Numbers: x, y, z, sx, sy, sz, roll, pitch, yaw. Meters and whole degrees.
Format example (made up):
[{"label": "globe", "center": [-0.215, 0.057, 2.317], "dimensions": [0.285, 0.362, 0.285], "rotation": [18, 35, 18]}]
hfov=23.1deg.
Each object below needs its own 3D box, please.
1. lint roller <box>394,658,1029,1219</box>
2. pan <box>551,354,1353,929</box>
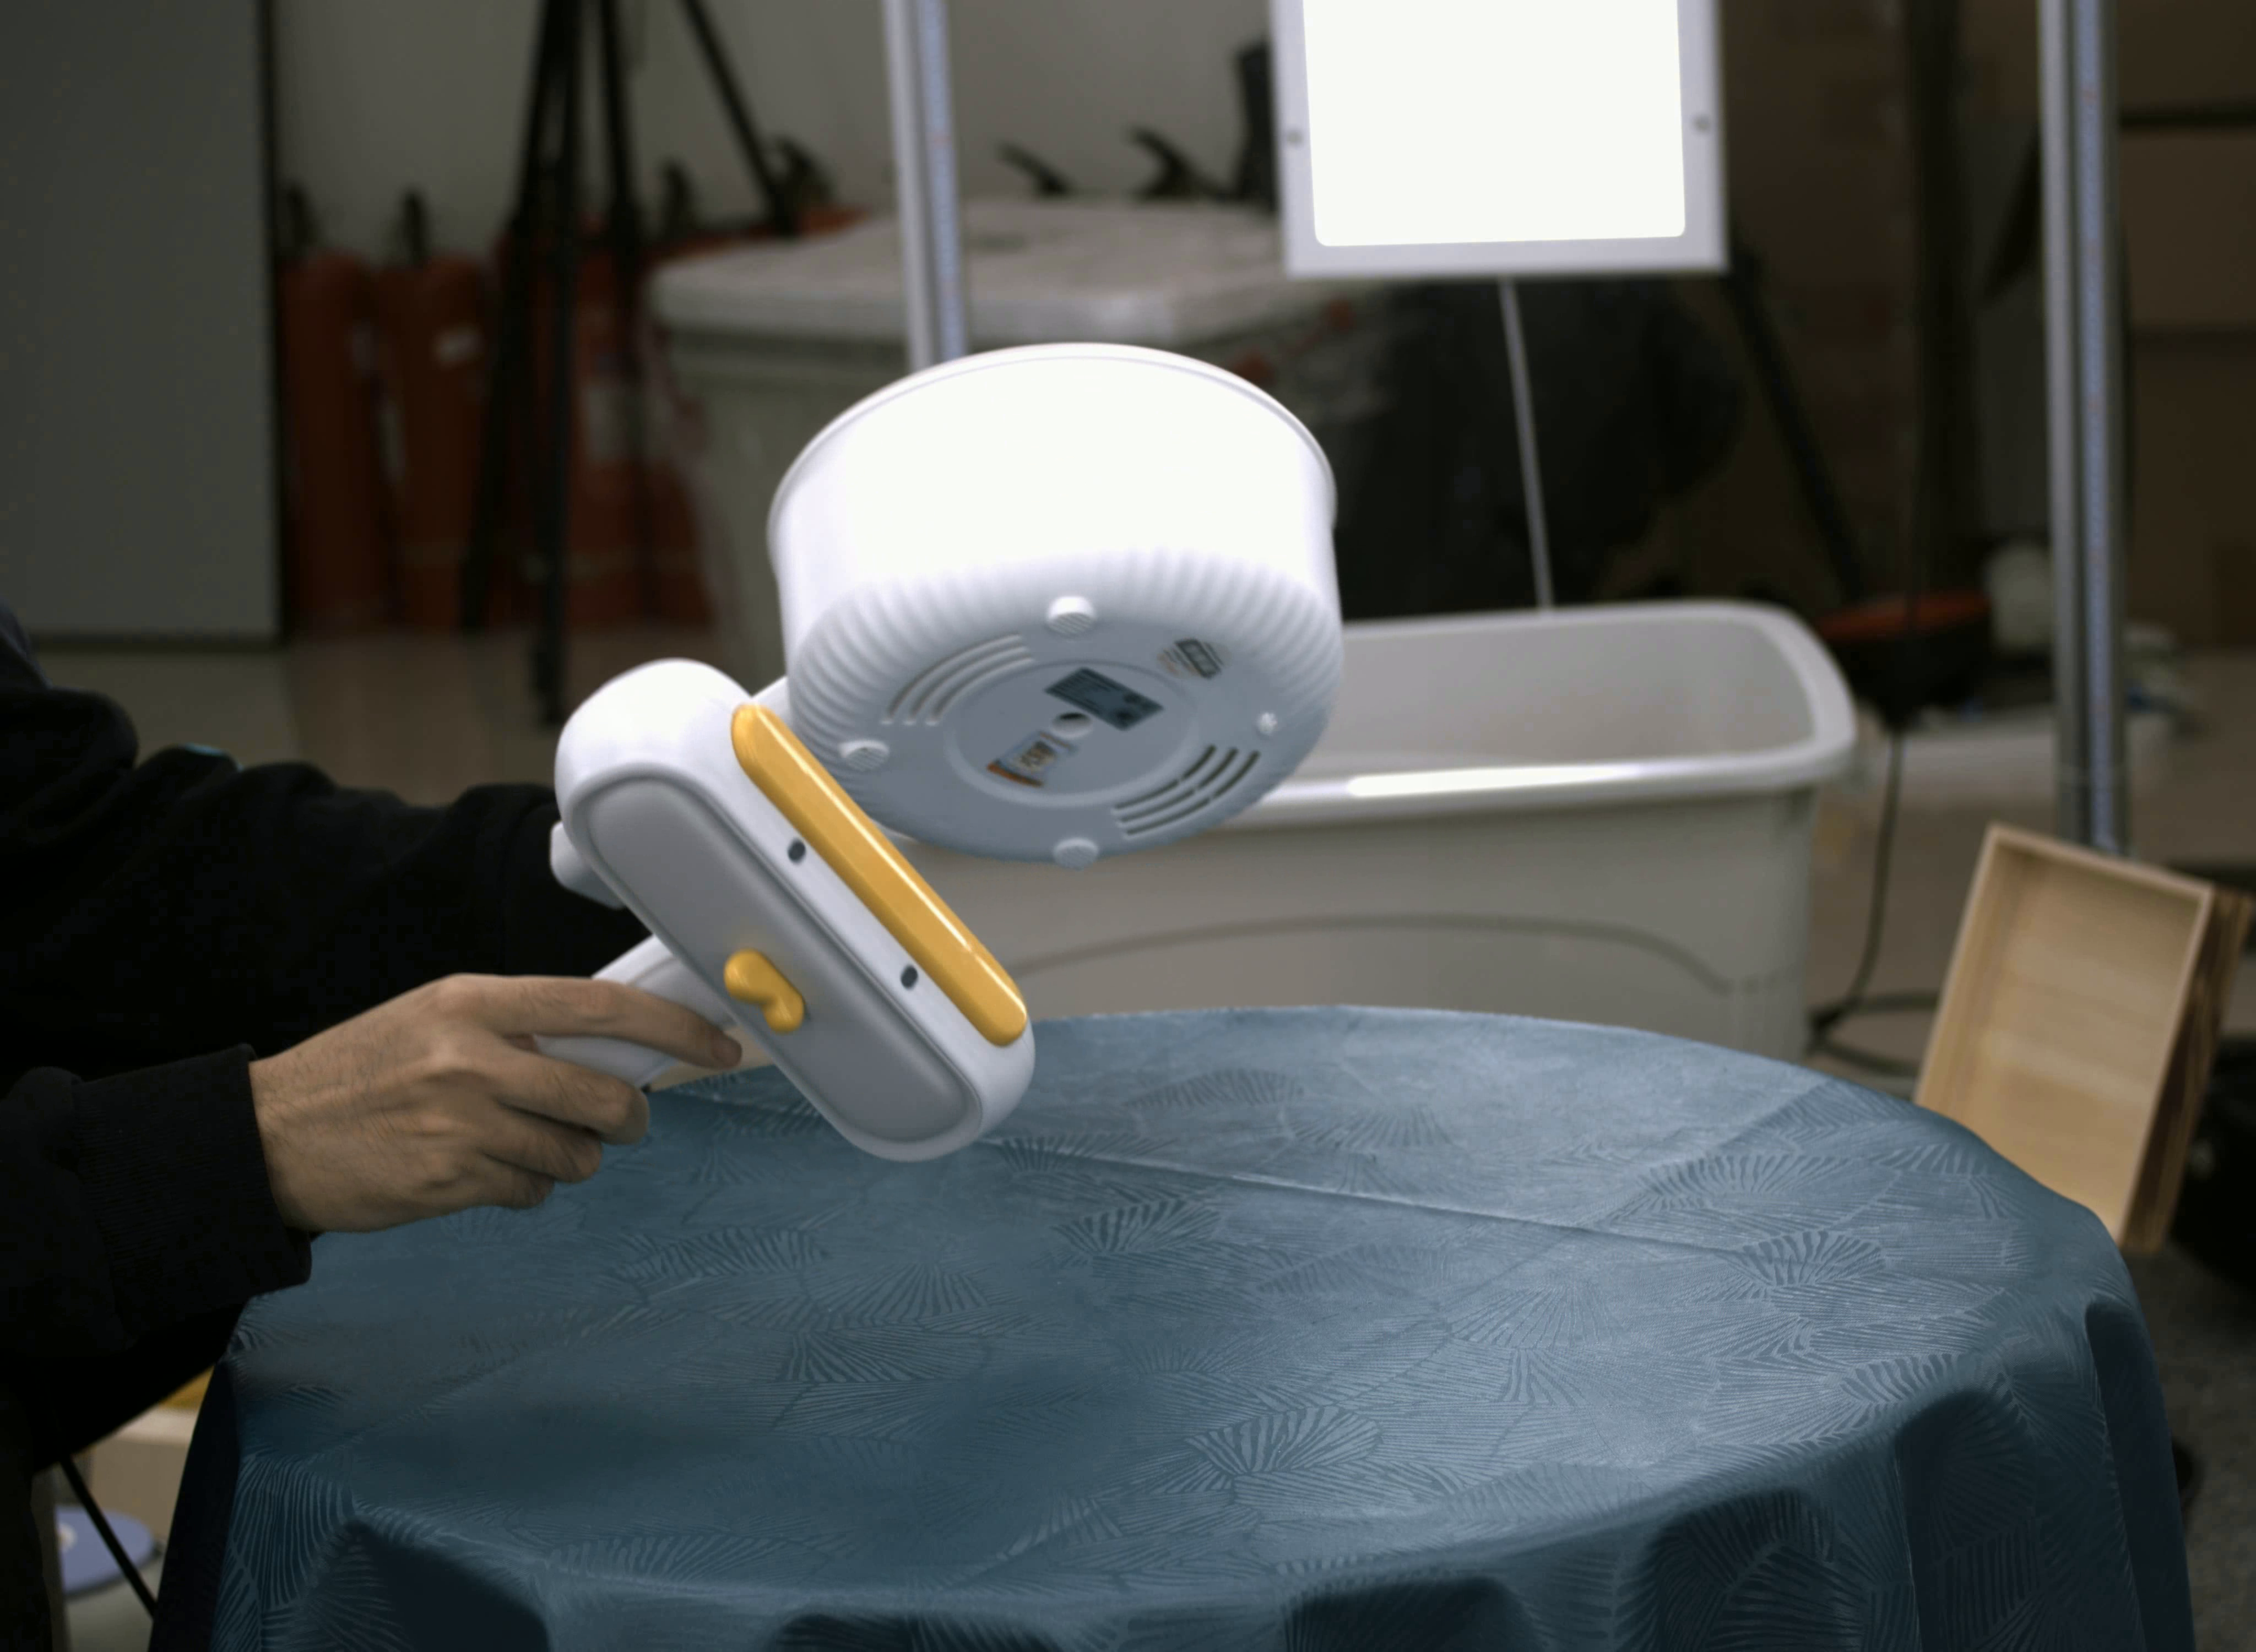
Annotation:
[{"label": "lint roller", "center": [-0.152, 0.058, 1.726], "dimensions": [0.196, 0.190, 0.074], "rotation": [-31, 32, 28]}, {"label": "pan", "center": [-0.075, -0.030, 1.958], "dimensions": [0.197, 0.102, 0.362], "rotation": [24, -44, -40]}]
